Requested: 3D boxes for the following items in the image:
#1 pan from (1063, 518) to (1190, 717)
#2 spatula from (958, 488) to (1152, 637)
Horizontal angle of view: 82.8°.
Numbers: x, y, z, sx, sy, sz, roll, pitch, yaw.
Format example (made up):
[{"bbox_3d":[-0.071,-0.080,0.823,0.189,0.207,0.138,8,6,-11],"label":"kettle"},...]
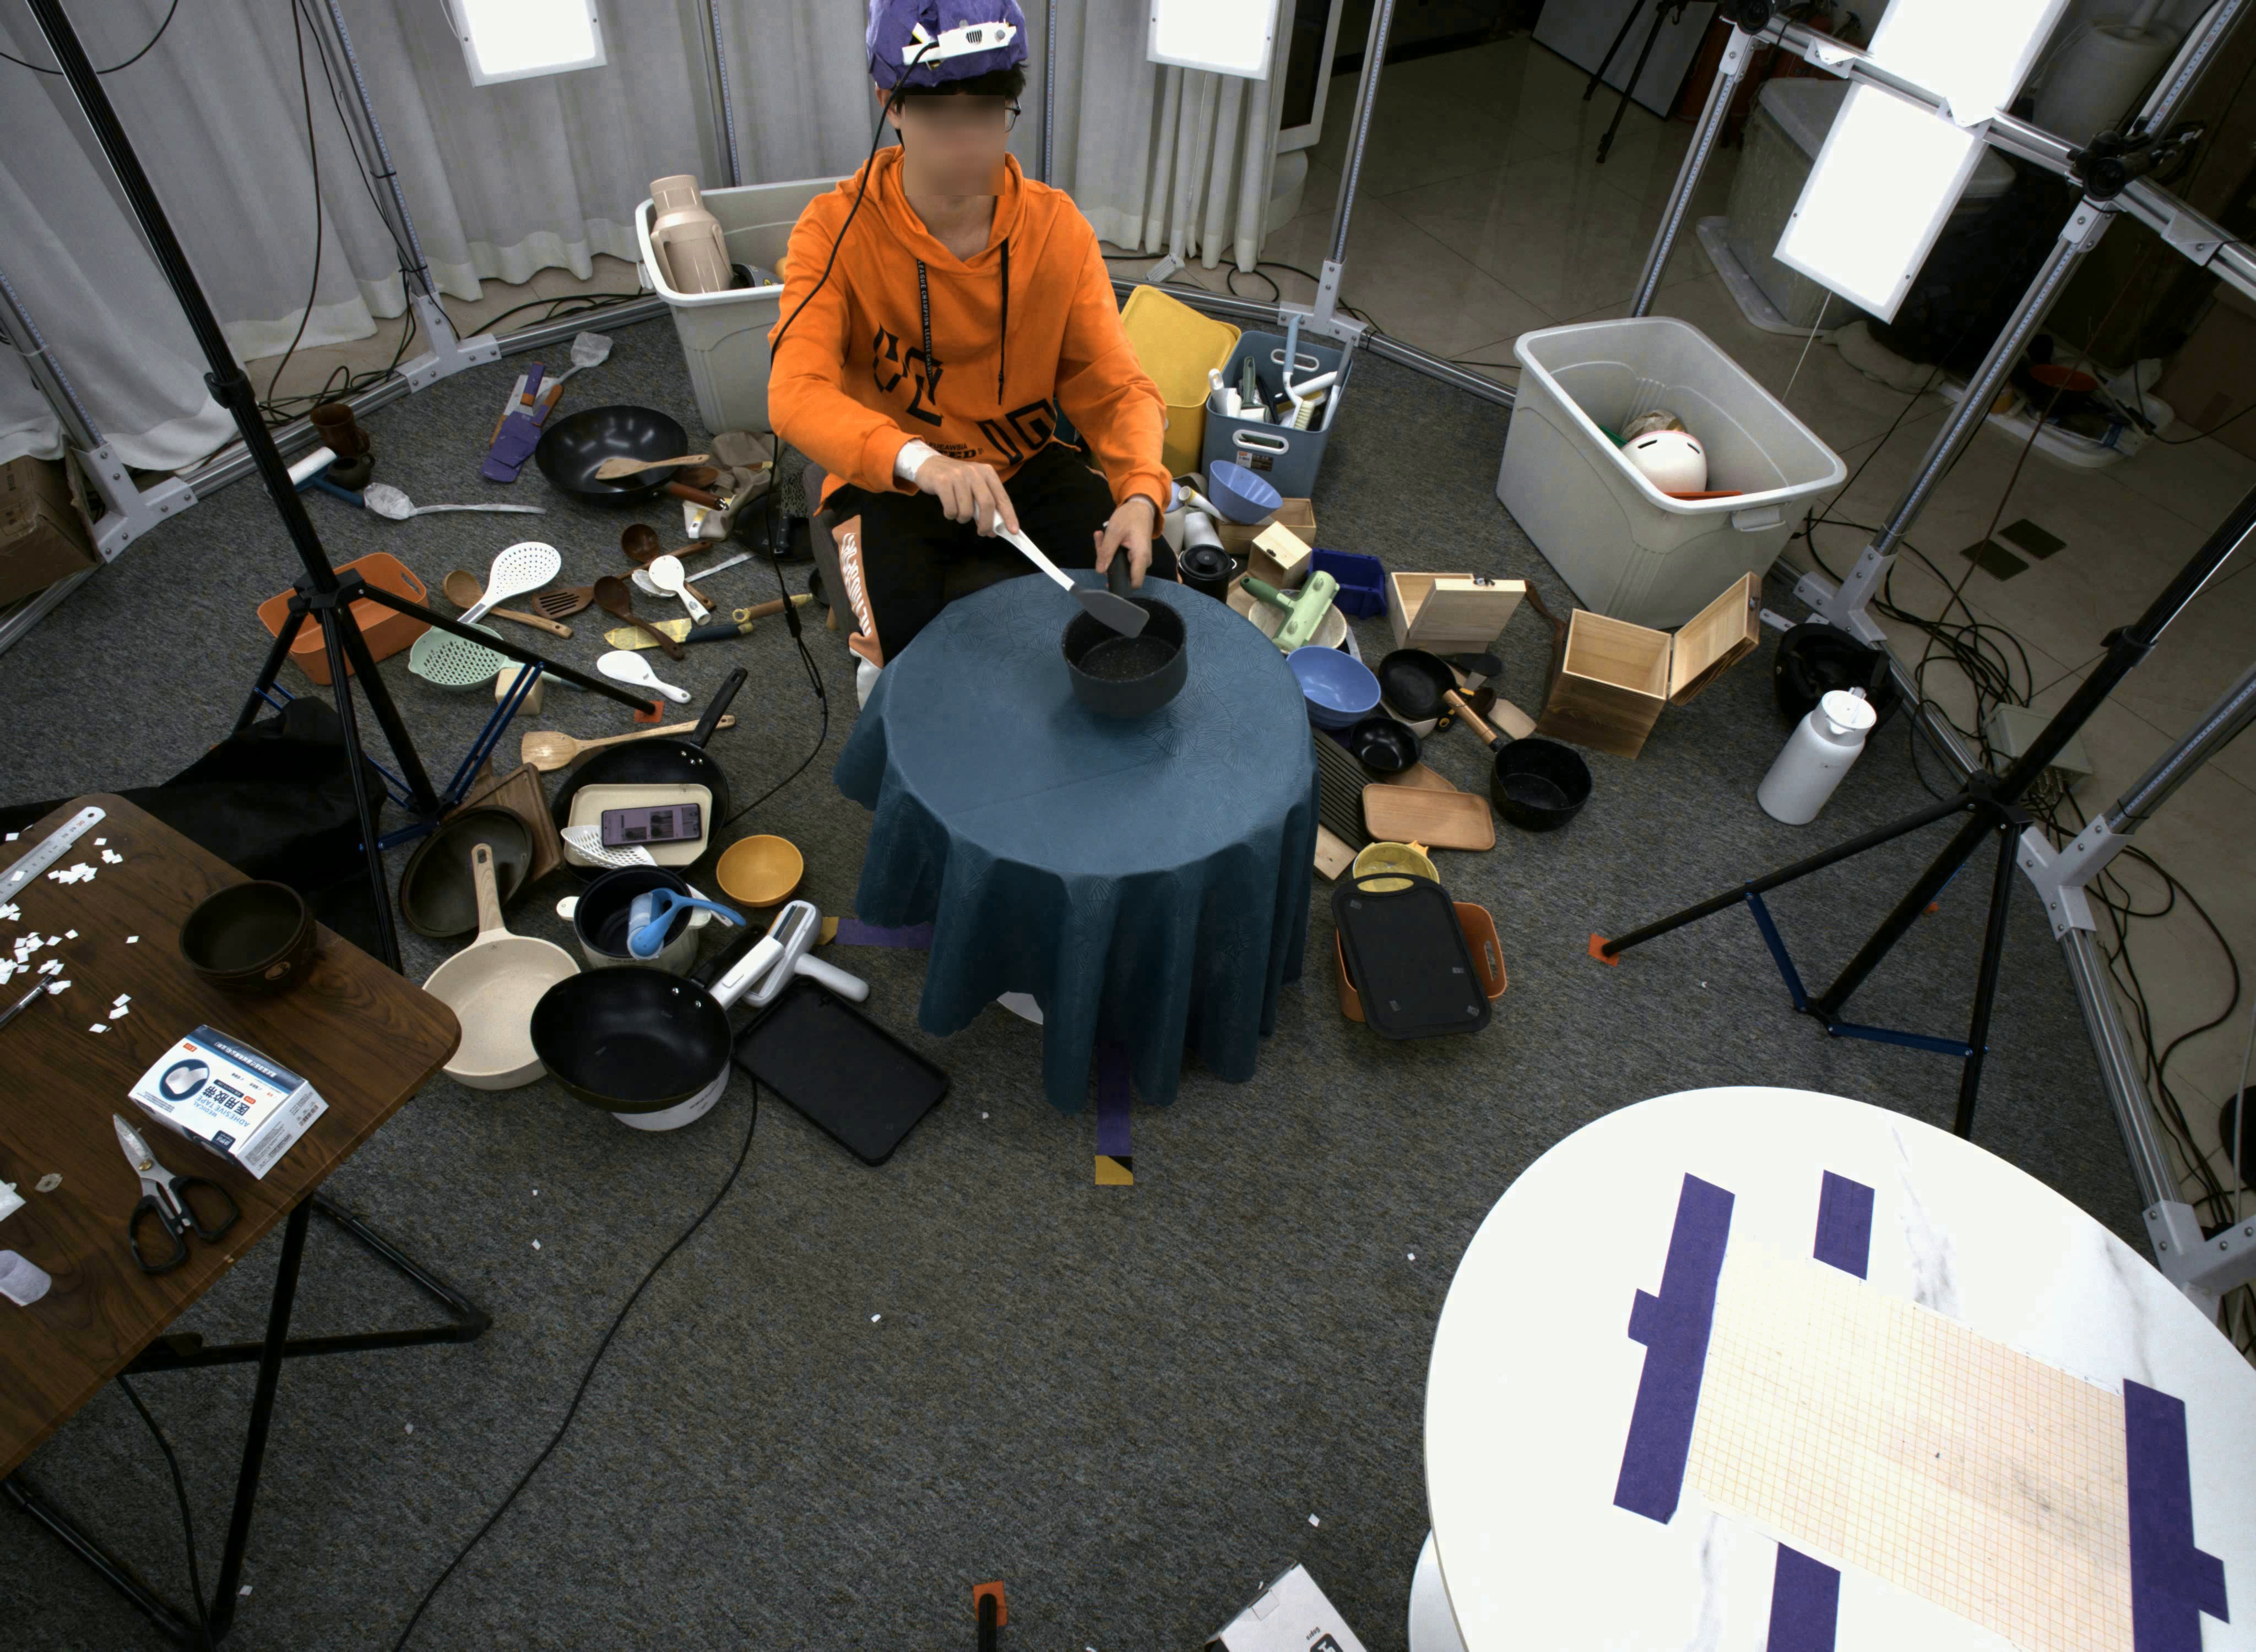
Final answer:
[{"bbox_3d":[-0.002,-0.296,1.812,0.172,0.084,0.337,-5,51,4],"label":"pan"},{"bbox_3d":[-0.096,-0.339,1.666,0.288,0.057,0.033,36,44,2],"label":"spatula"}]
